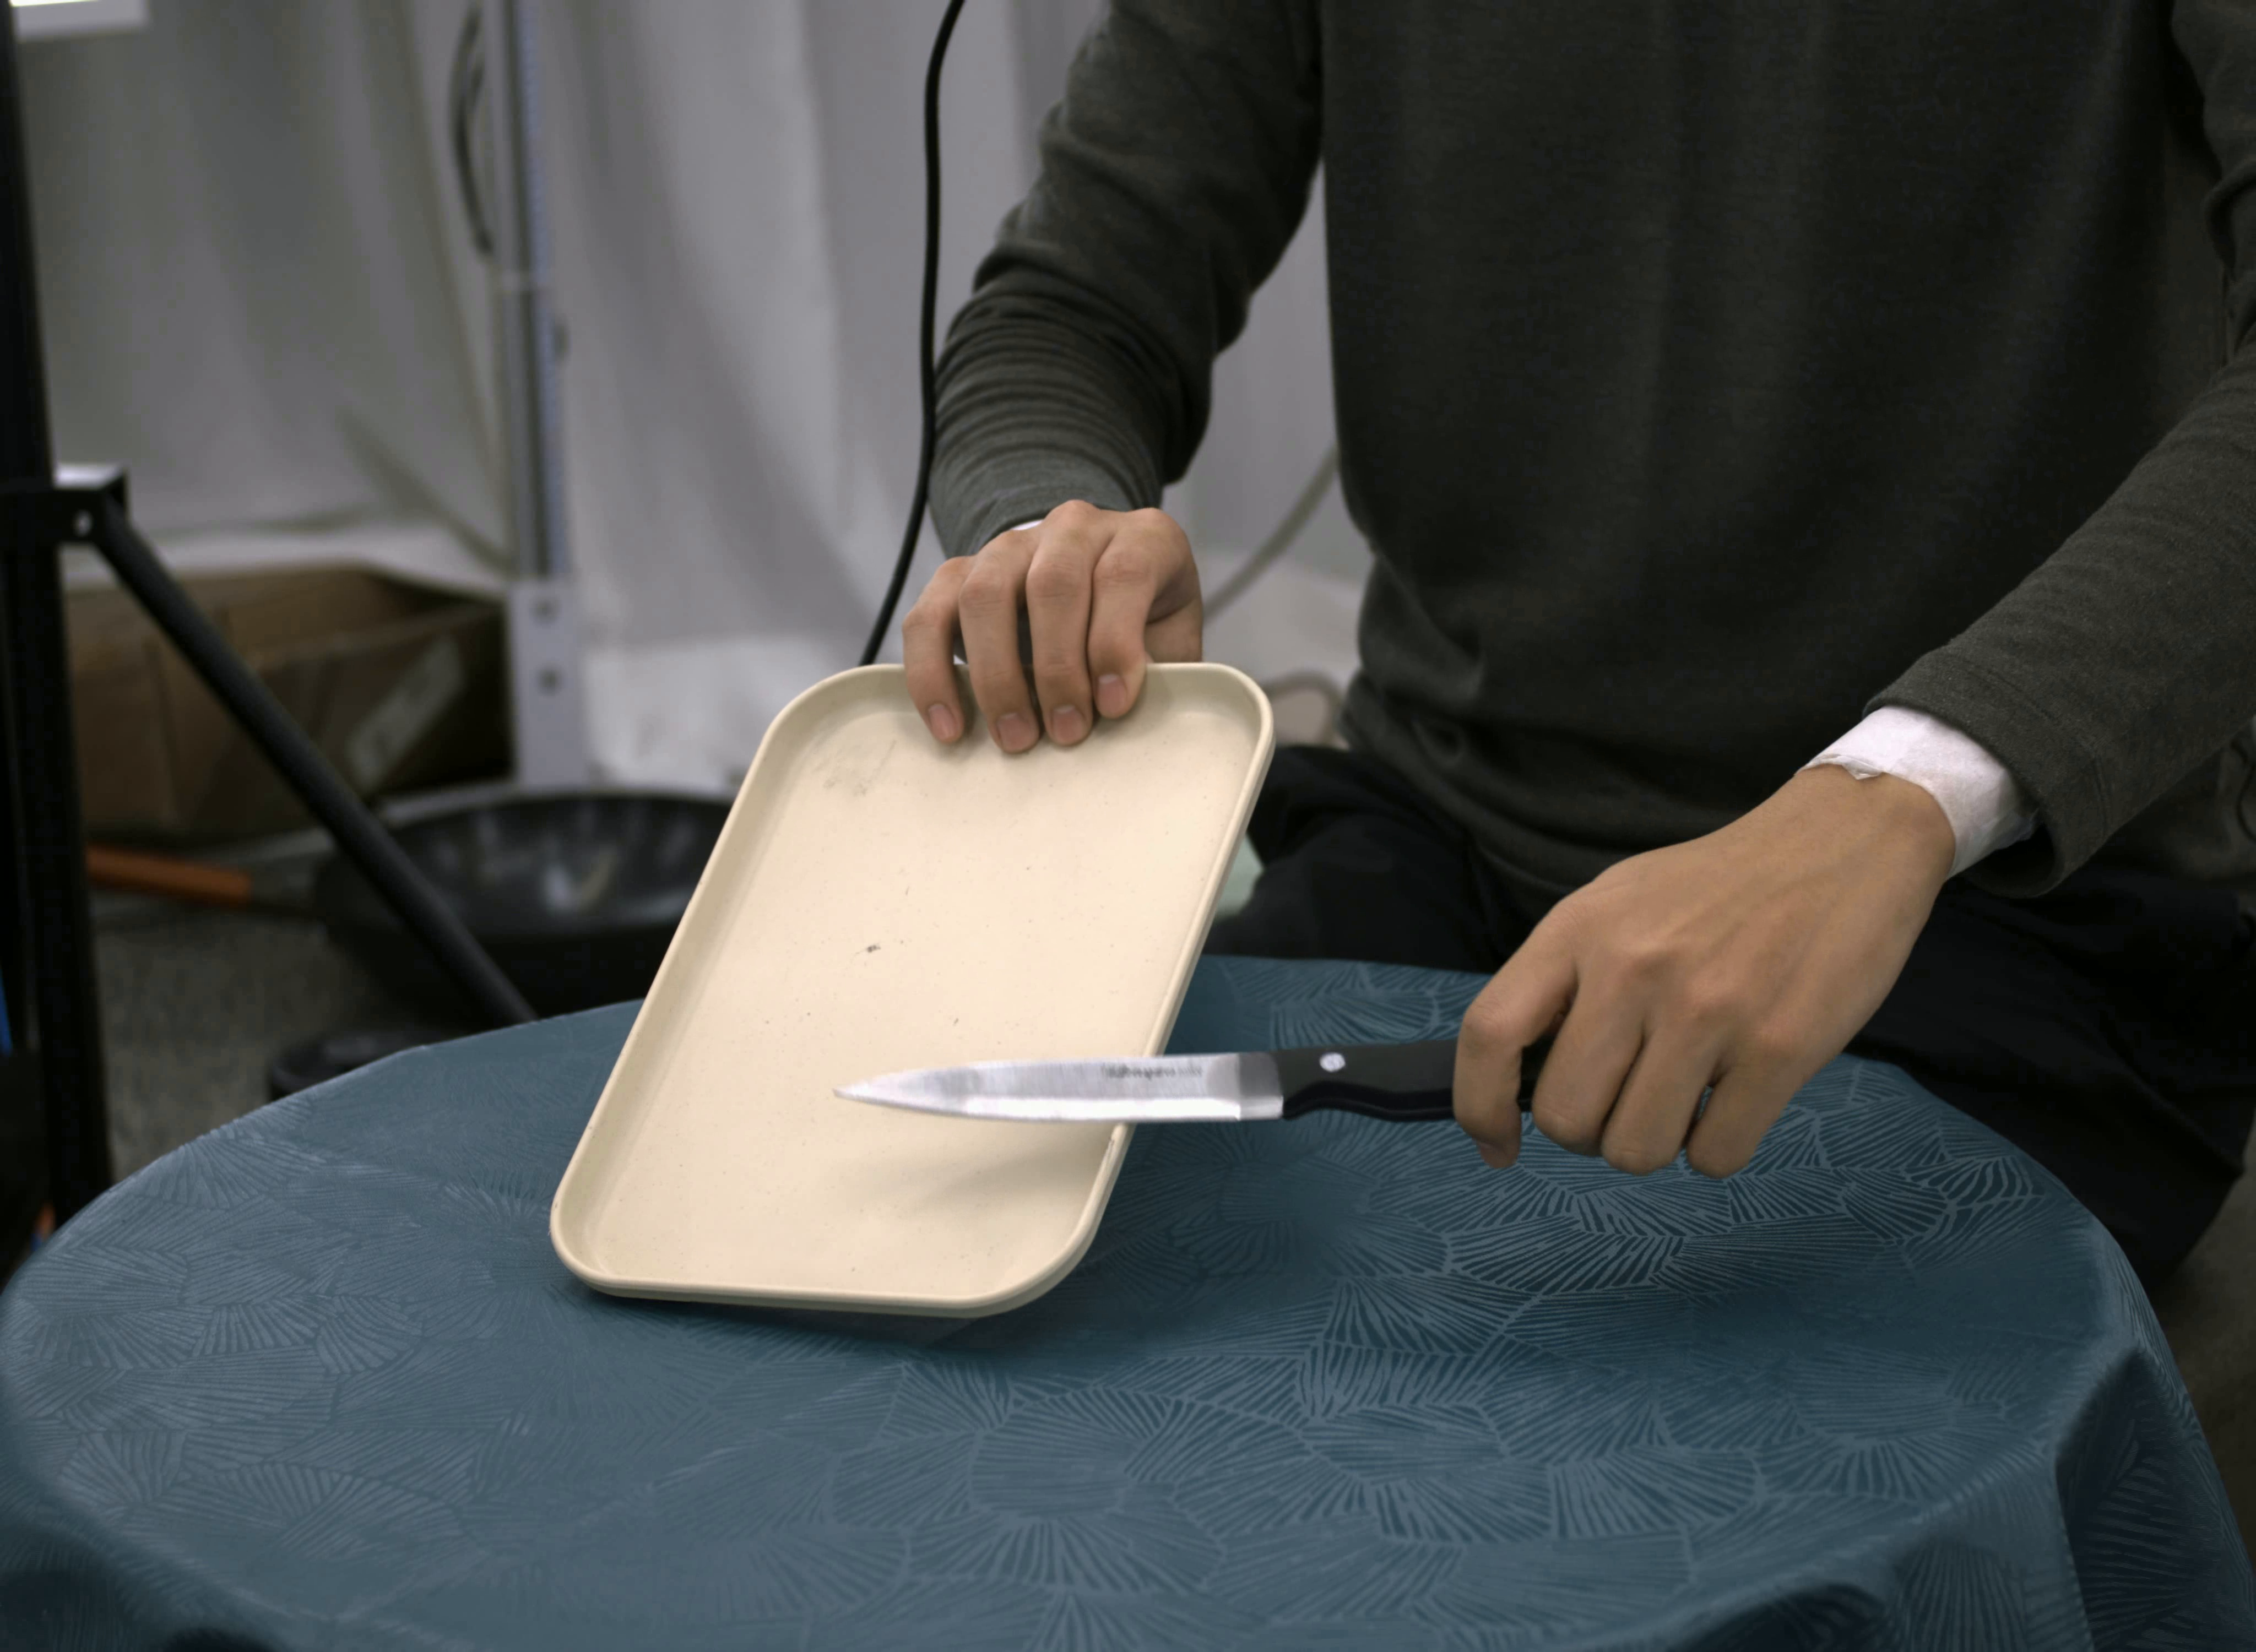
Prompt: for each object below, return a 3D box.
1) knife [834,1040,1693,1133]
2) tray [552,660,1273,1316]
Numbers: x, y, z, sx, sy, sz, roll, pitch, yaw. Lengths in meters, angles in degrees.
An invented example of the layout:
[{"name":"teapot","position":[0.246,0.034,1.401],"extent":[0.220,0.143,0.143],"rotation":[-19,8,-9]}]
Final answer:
[{"name":"knife","position":[0.036,0.073,1.462],"extent":[0.238,0.016,0.024],"rotation":[-3,47,8]},{"name":"tray","position":[-0.059,0.045,1.538],"extent":[0.174,0.017,0.240],"rotation":[0,49,27]}]
